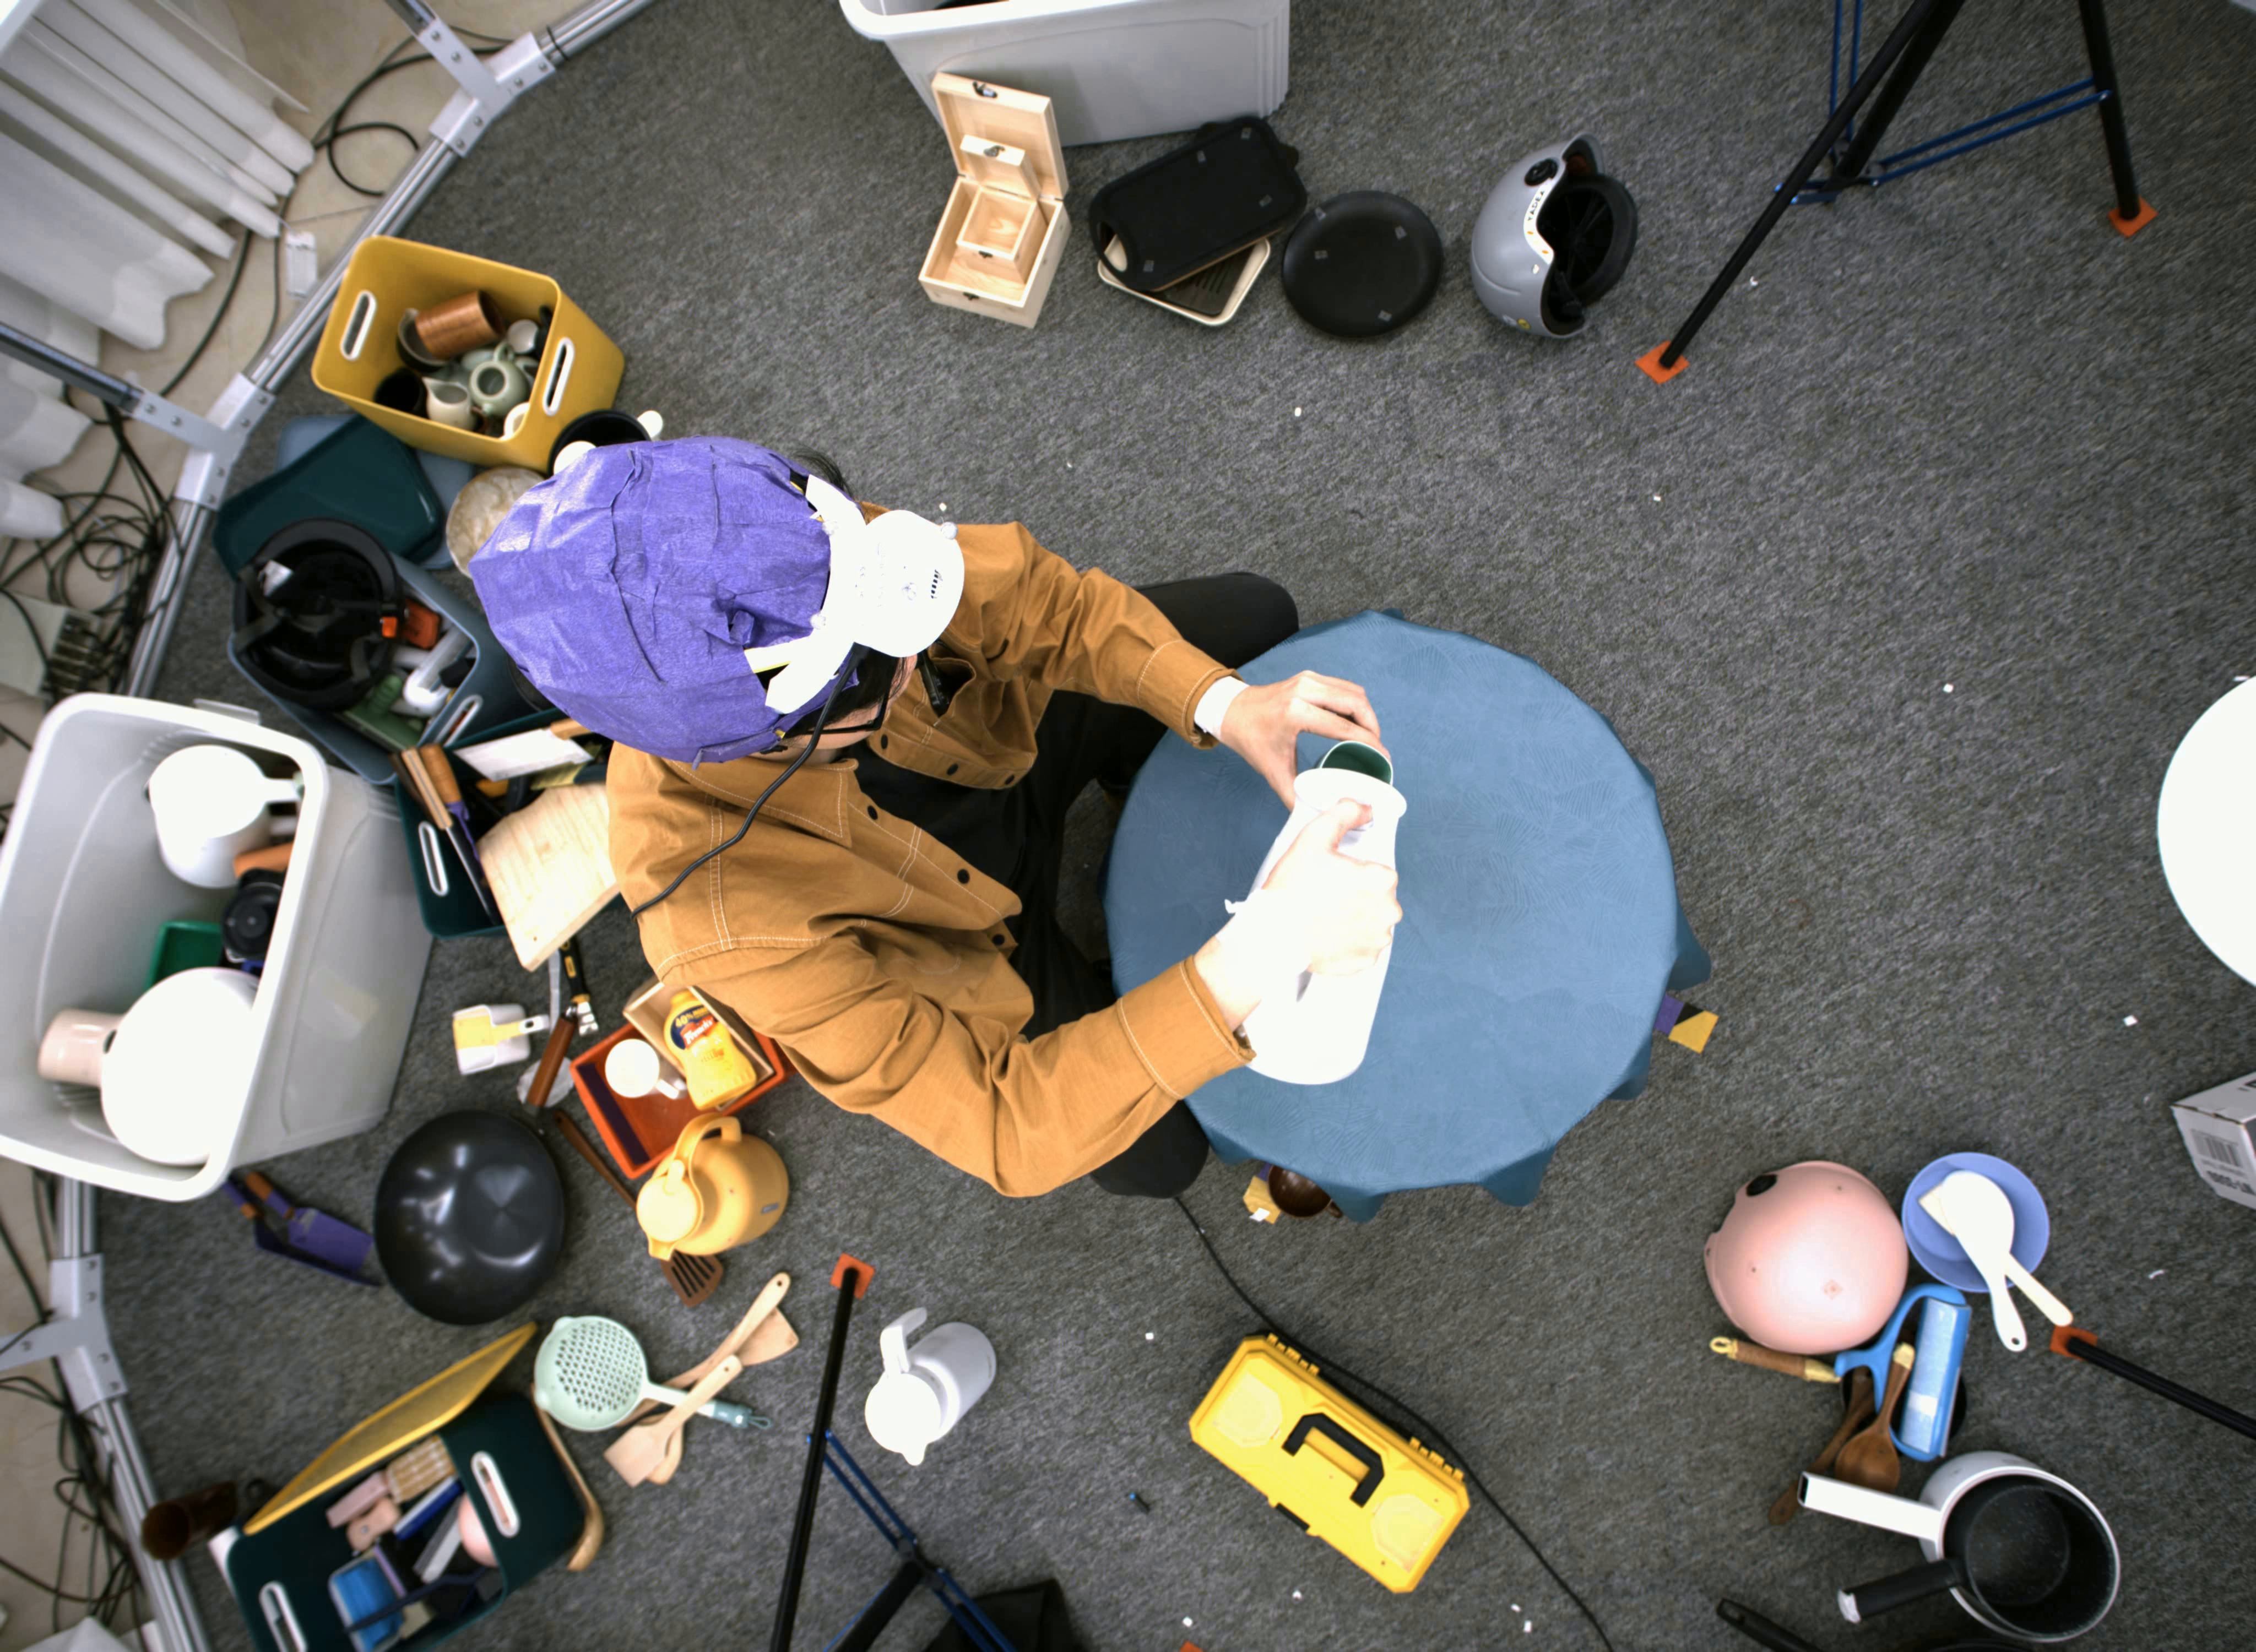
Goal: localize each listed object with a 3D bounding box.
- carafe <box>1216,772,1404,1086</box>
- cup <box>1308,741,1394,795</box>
[{"bbox_3d":[0.159,0.088,1.139,0.132,0.164,0.254,9,120,-1],"label":"carafe"},{"bbox_3d":[0.198,-0.042,1.253,0.067,0.132,0.067,0,90,3],"label":"cup"}]
